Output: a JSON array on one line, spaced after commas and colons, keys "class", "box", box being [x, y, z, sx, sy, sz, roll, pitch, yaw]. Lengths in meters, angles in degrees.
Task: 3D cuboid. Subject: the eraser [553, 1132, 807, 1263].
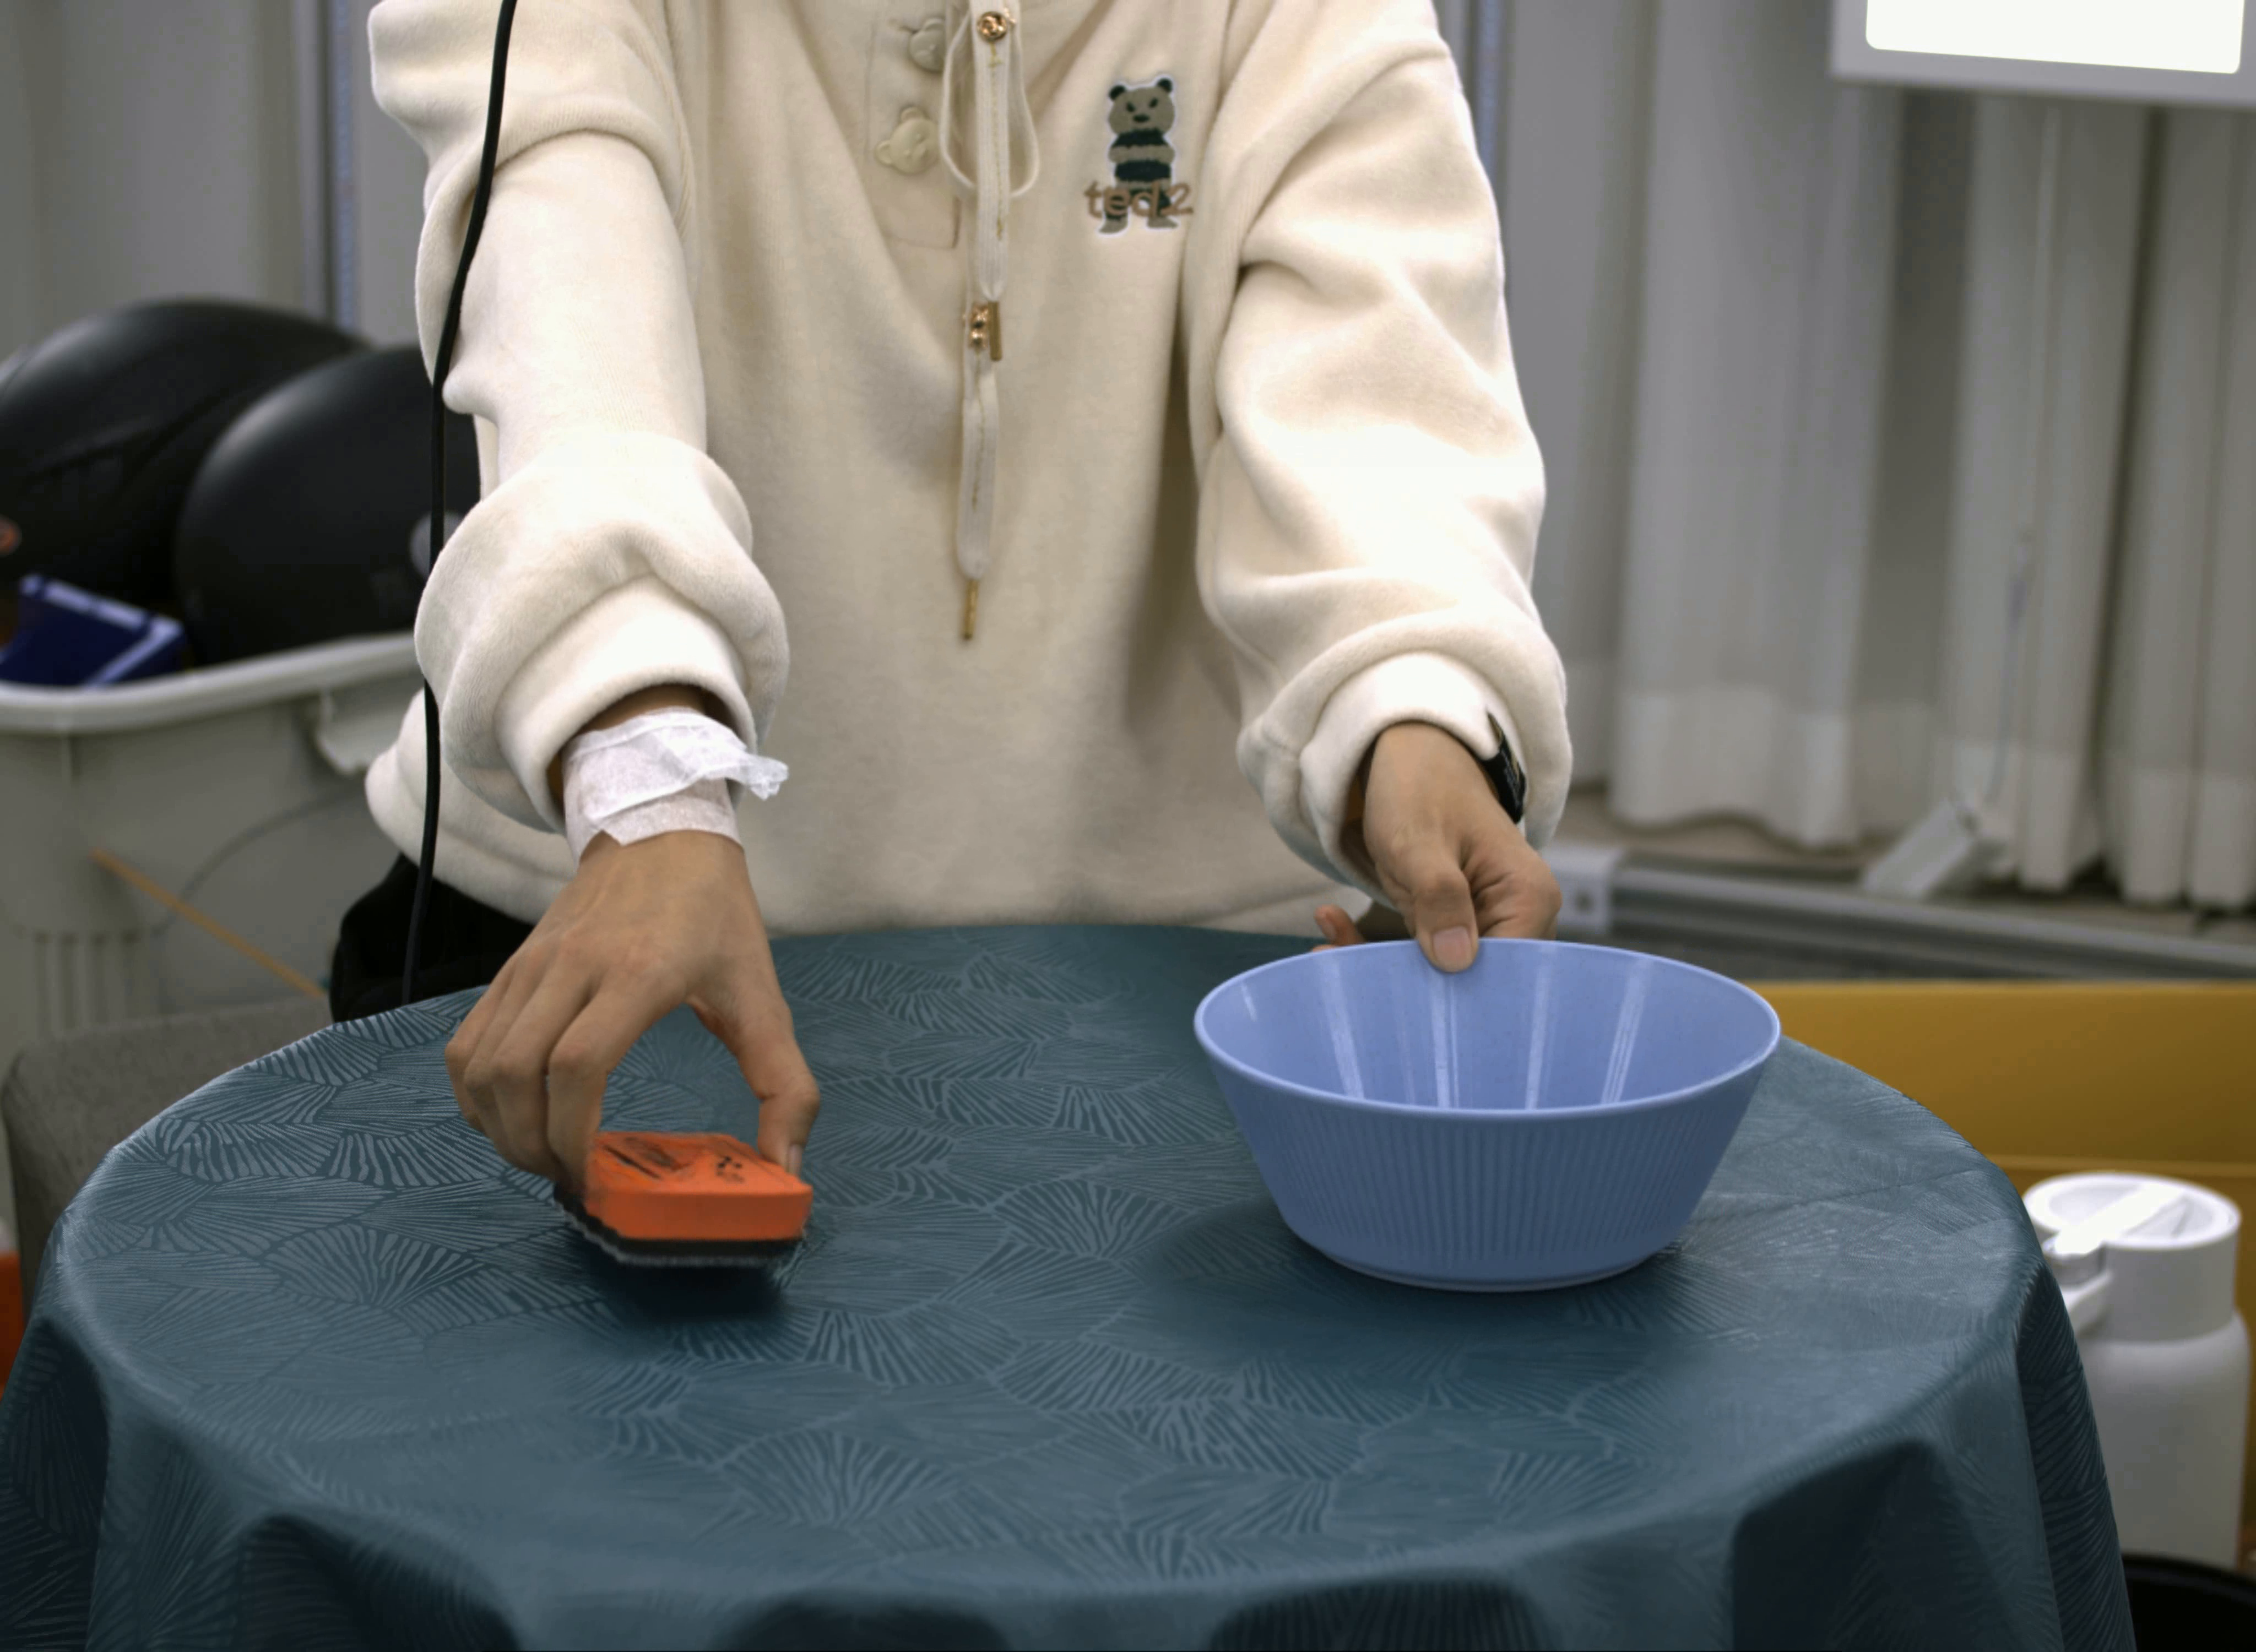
[{"class": "eraser", "box": [-0.132, 0.108, 1.549, 0.059, 0.023, 0.107, 0, 5, -17]}]

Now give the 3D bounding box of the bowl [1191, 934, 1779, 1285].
[{"class": "bowl", "box": [0.106, 0.087, 1.578, 0.175, 0.071, 0.175, 0, 16, 1]}]
